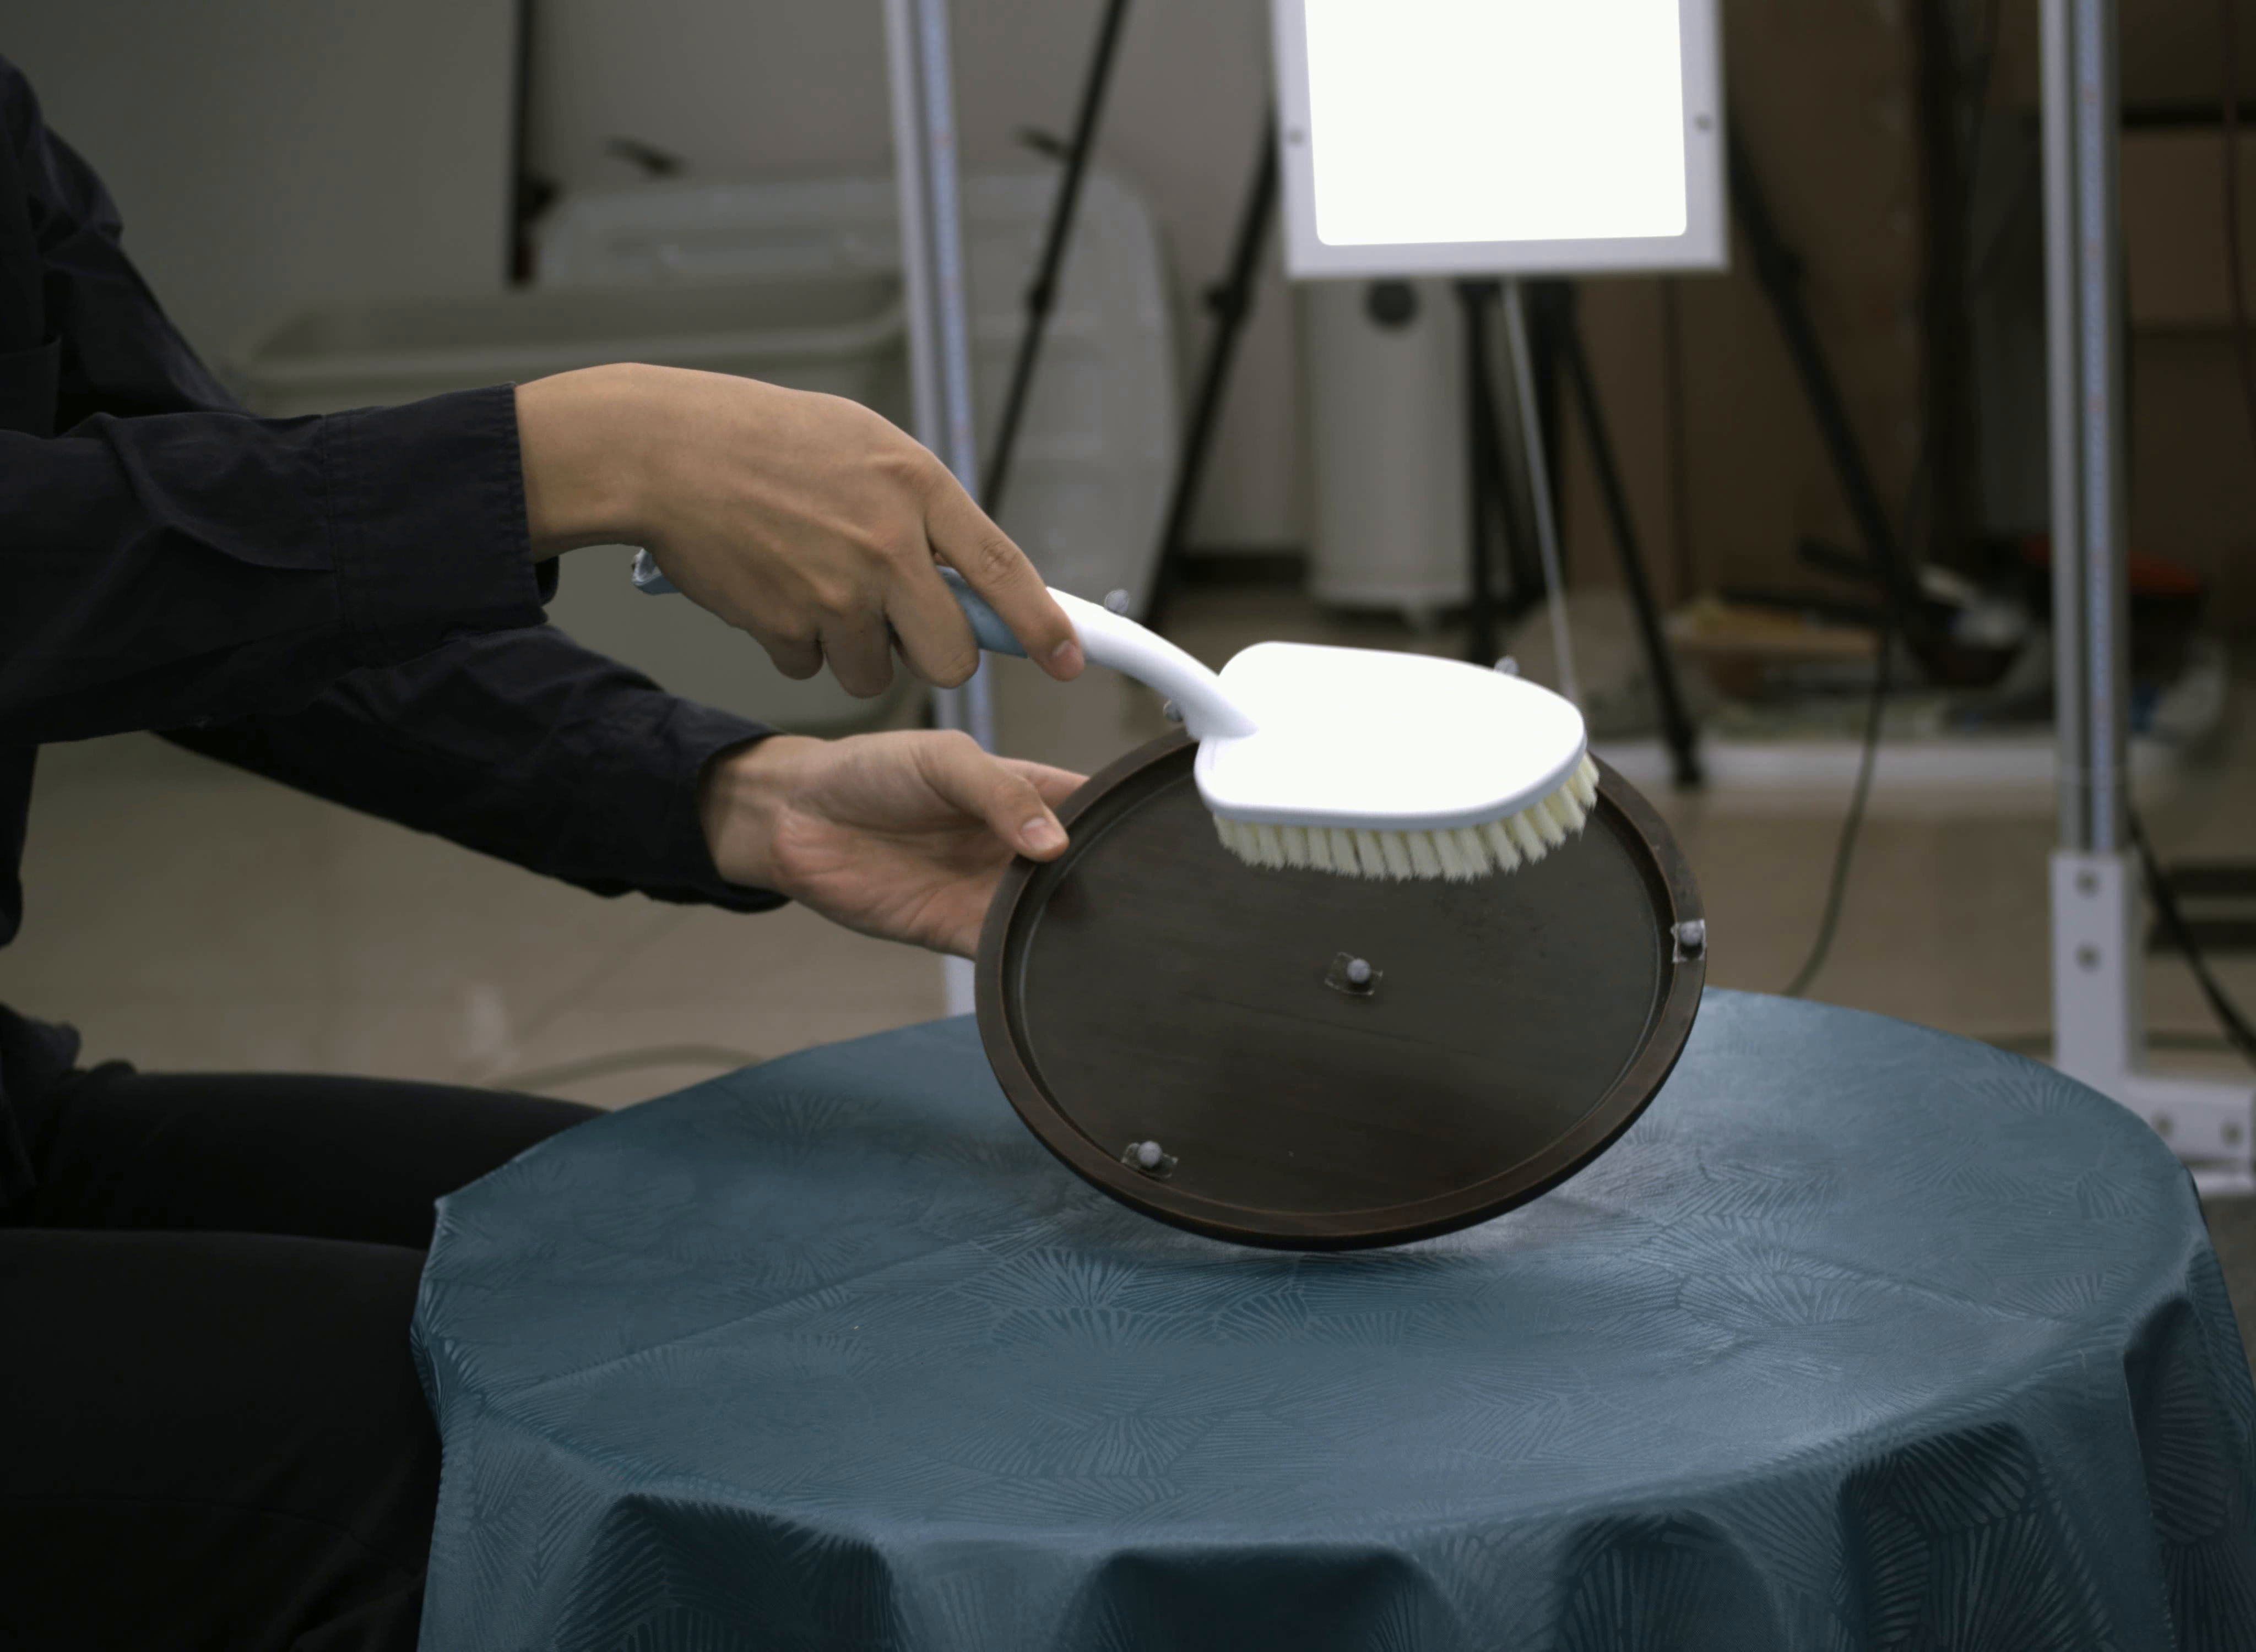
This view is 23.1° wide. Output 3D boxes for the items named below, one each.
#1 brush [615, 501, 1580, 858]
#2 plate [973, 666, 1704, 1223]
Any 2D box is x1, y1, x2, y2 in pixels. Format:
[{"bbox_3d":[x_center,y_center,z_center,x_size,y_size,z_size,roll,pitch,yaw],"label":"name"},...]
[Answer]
[{"bbox_3d":[-0.010,-0.049,1.824,0.326,0.085,0.082,11,23,8],"label":"brush"},{"bbox_3d":[0.073,0.038,1.896,0.255,0.029,0.254,-7,48,6],"label":"plate"}]
